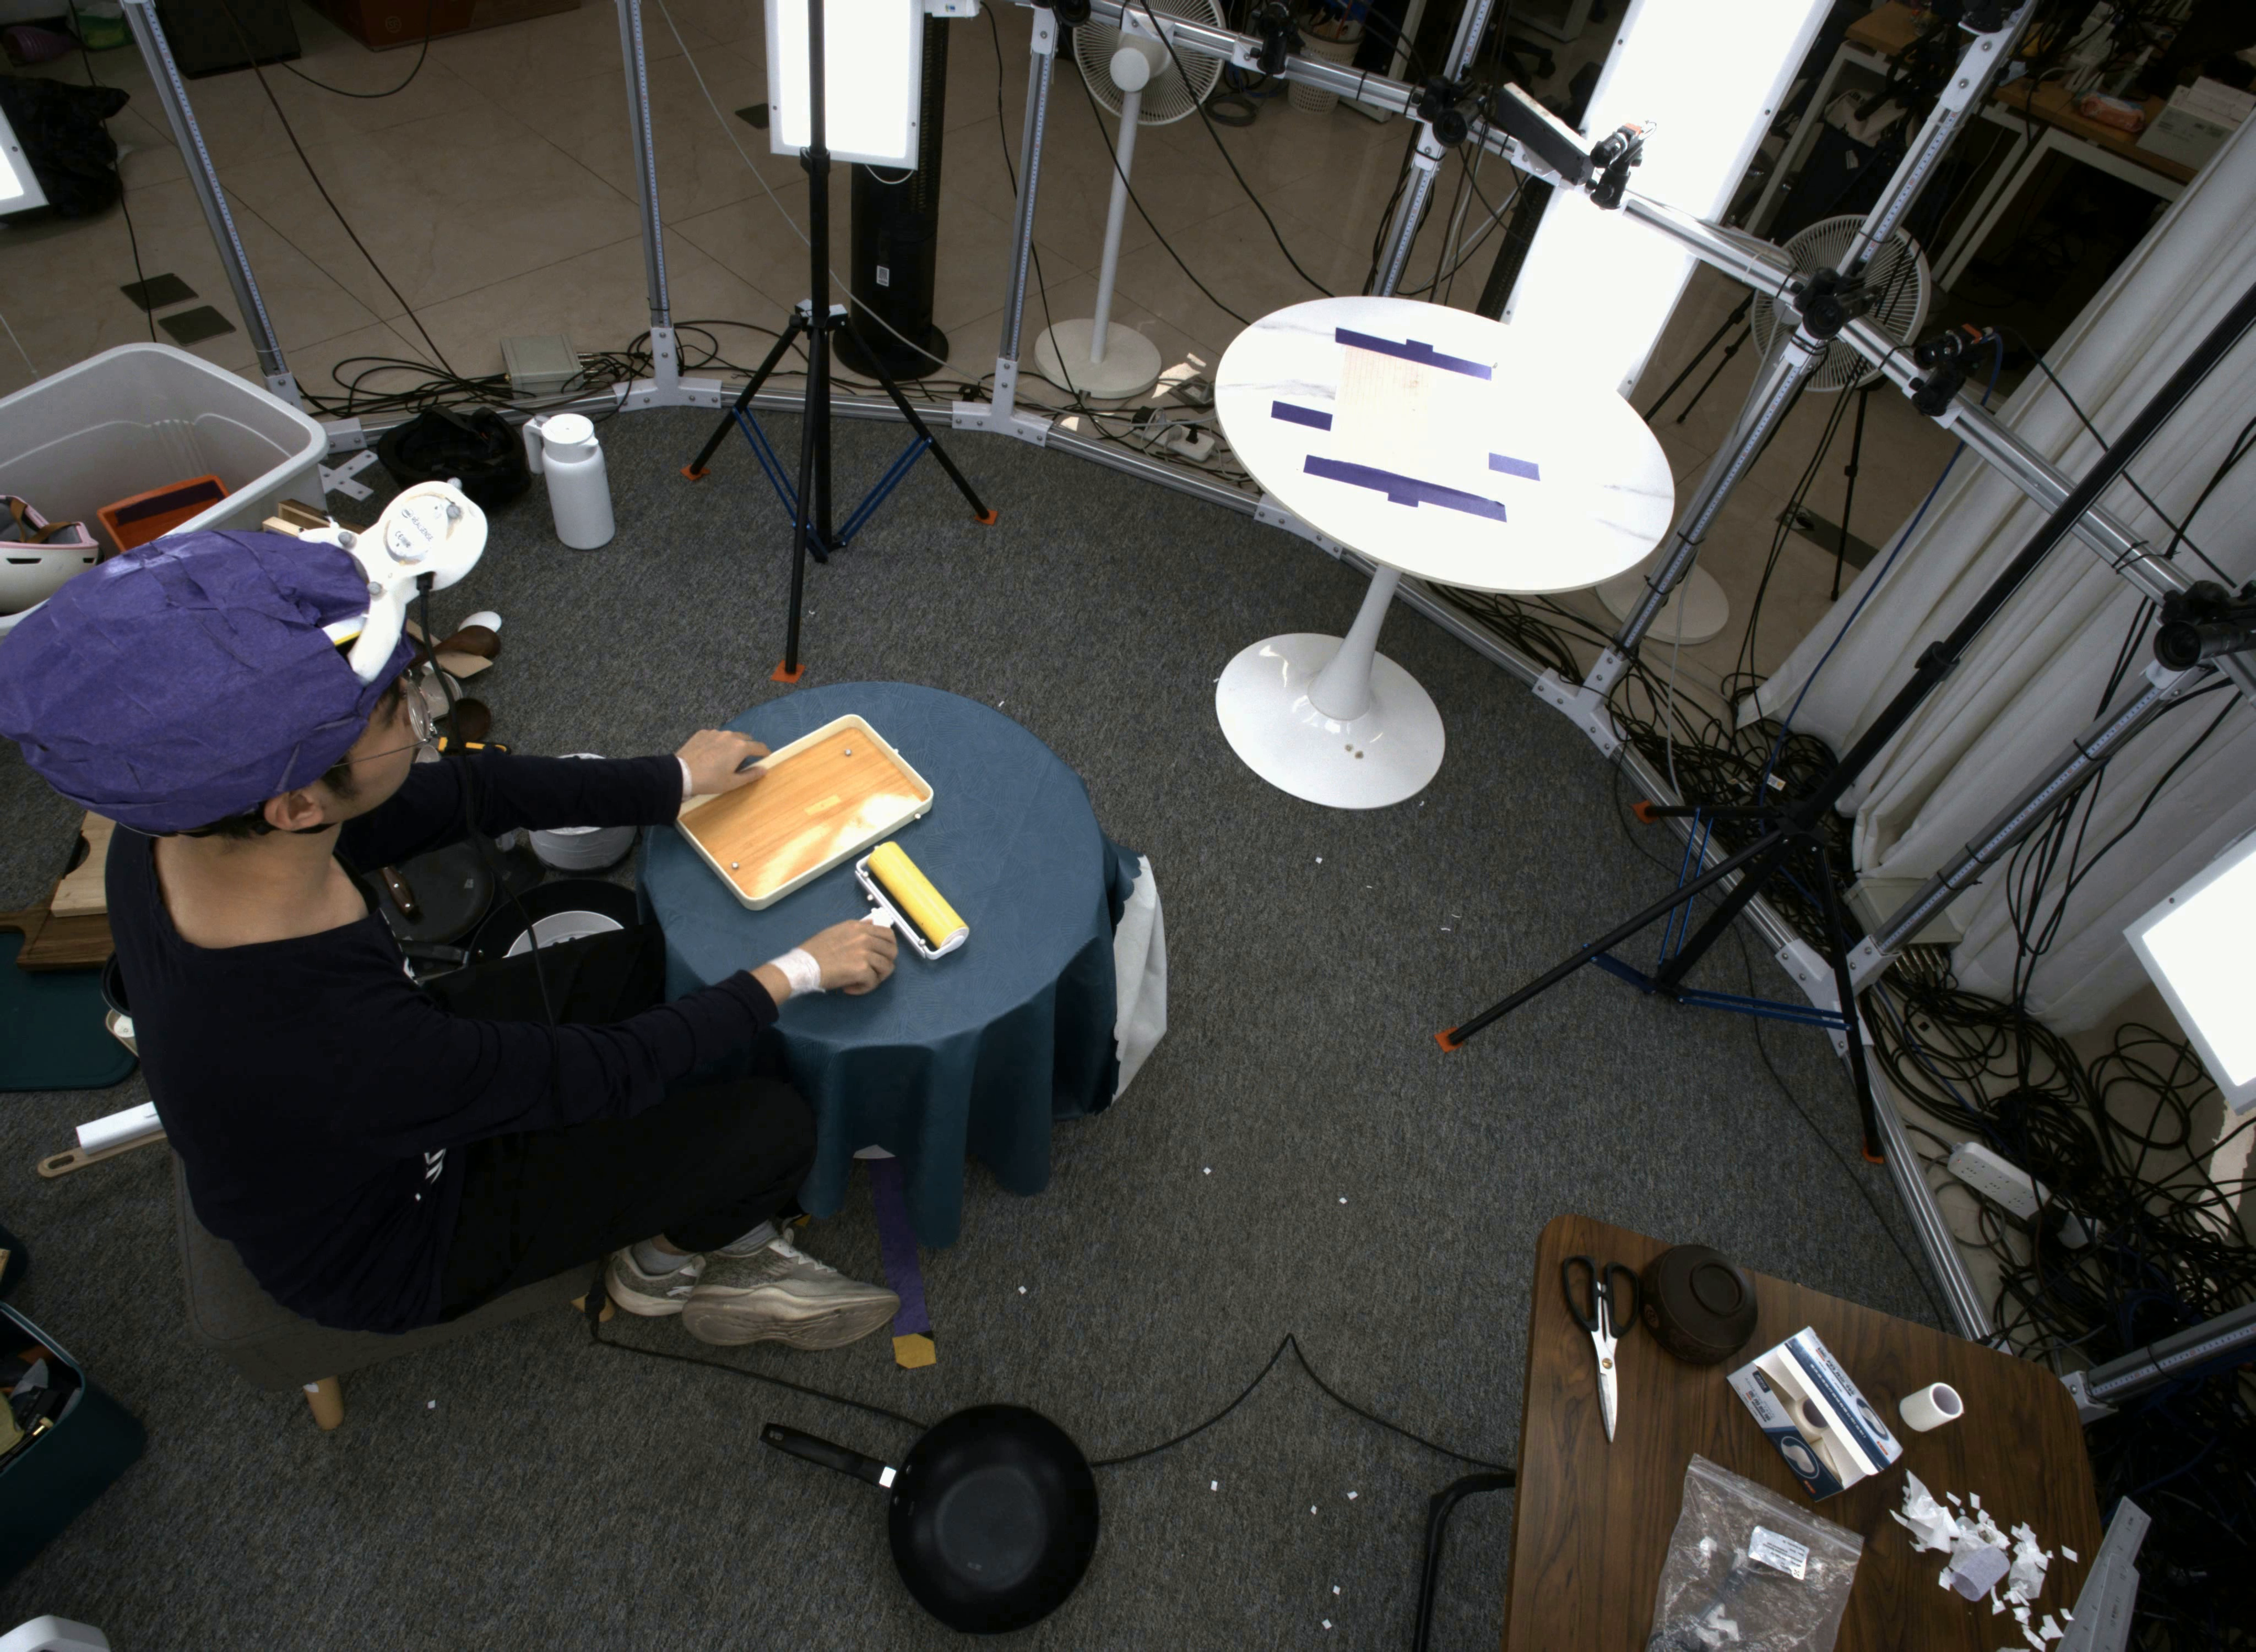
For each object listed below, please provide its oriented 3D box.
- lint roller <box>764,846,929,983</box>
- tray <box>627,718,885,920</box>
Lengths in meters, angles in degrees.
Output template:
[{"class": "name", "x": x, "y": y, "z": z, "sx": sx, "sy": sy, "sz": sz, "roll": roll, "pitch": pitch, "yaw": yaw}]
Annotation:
[{"class": "lint roller", "x": -0.373, "y": 0.126, "z": 1.623, "sx": 0.170, "sy": 0.052, "sz": 0.192, "roll": 42, "pitch": 52, "yaw": 19}, {"class": "tray", "x": -0.490, "y": -0.016, "z": 1.714, "sx": 0.187, "sy": 0.028, "sz": 0.301, "roll": 41, "pitch": 55, "yaw": 17}]
